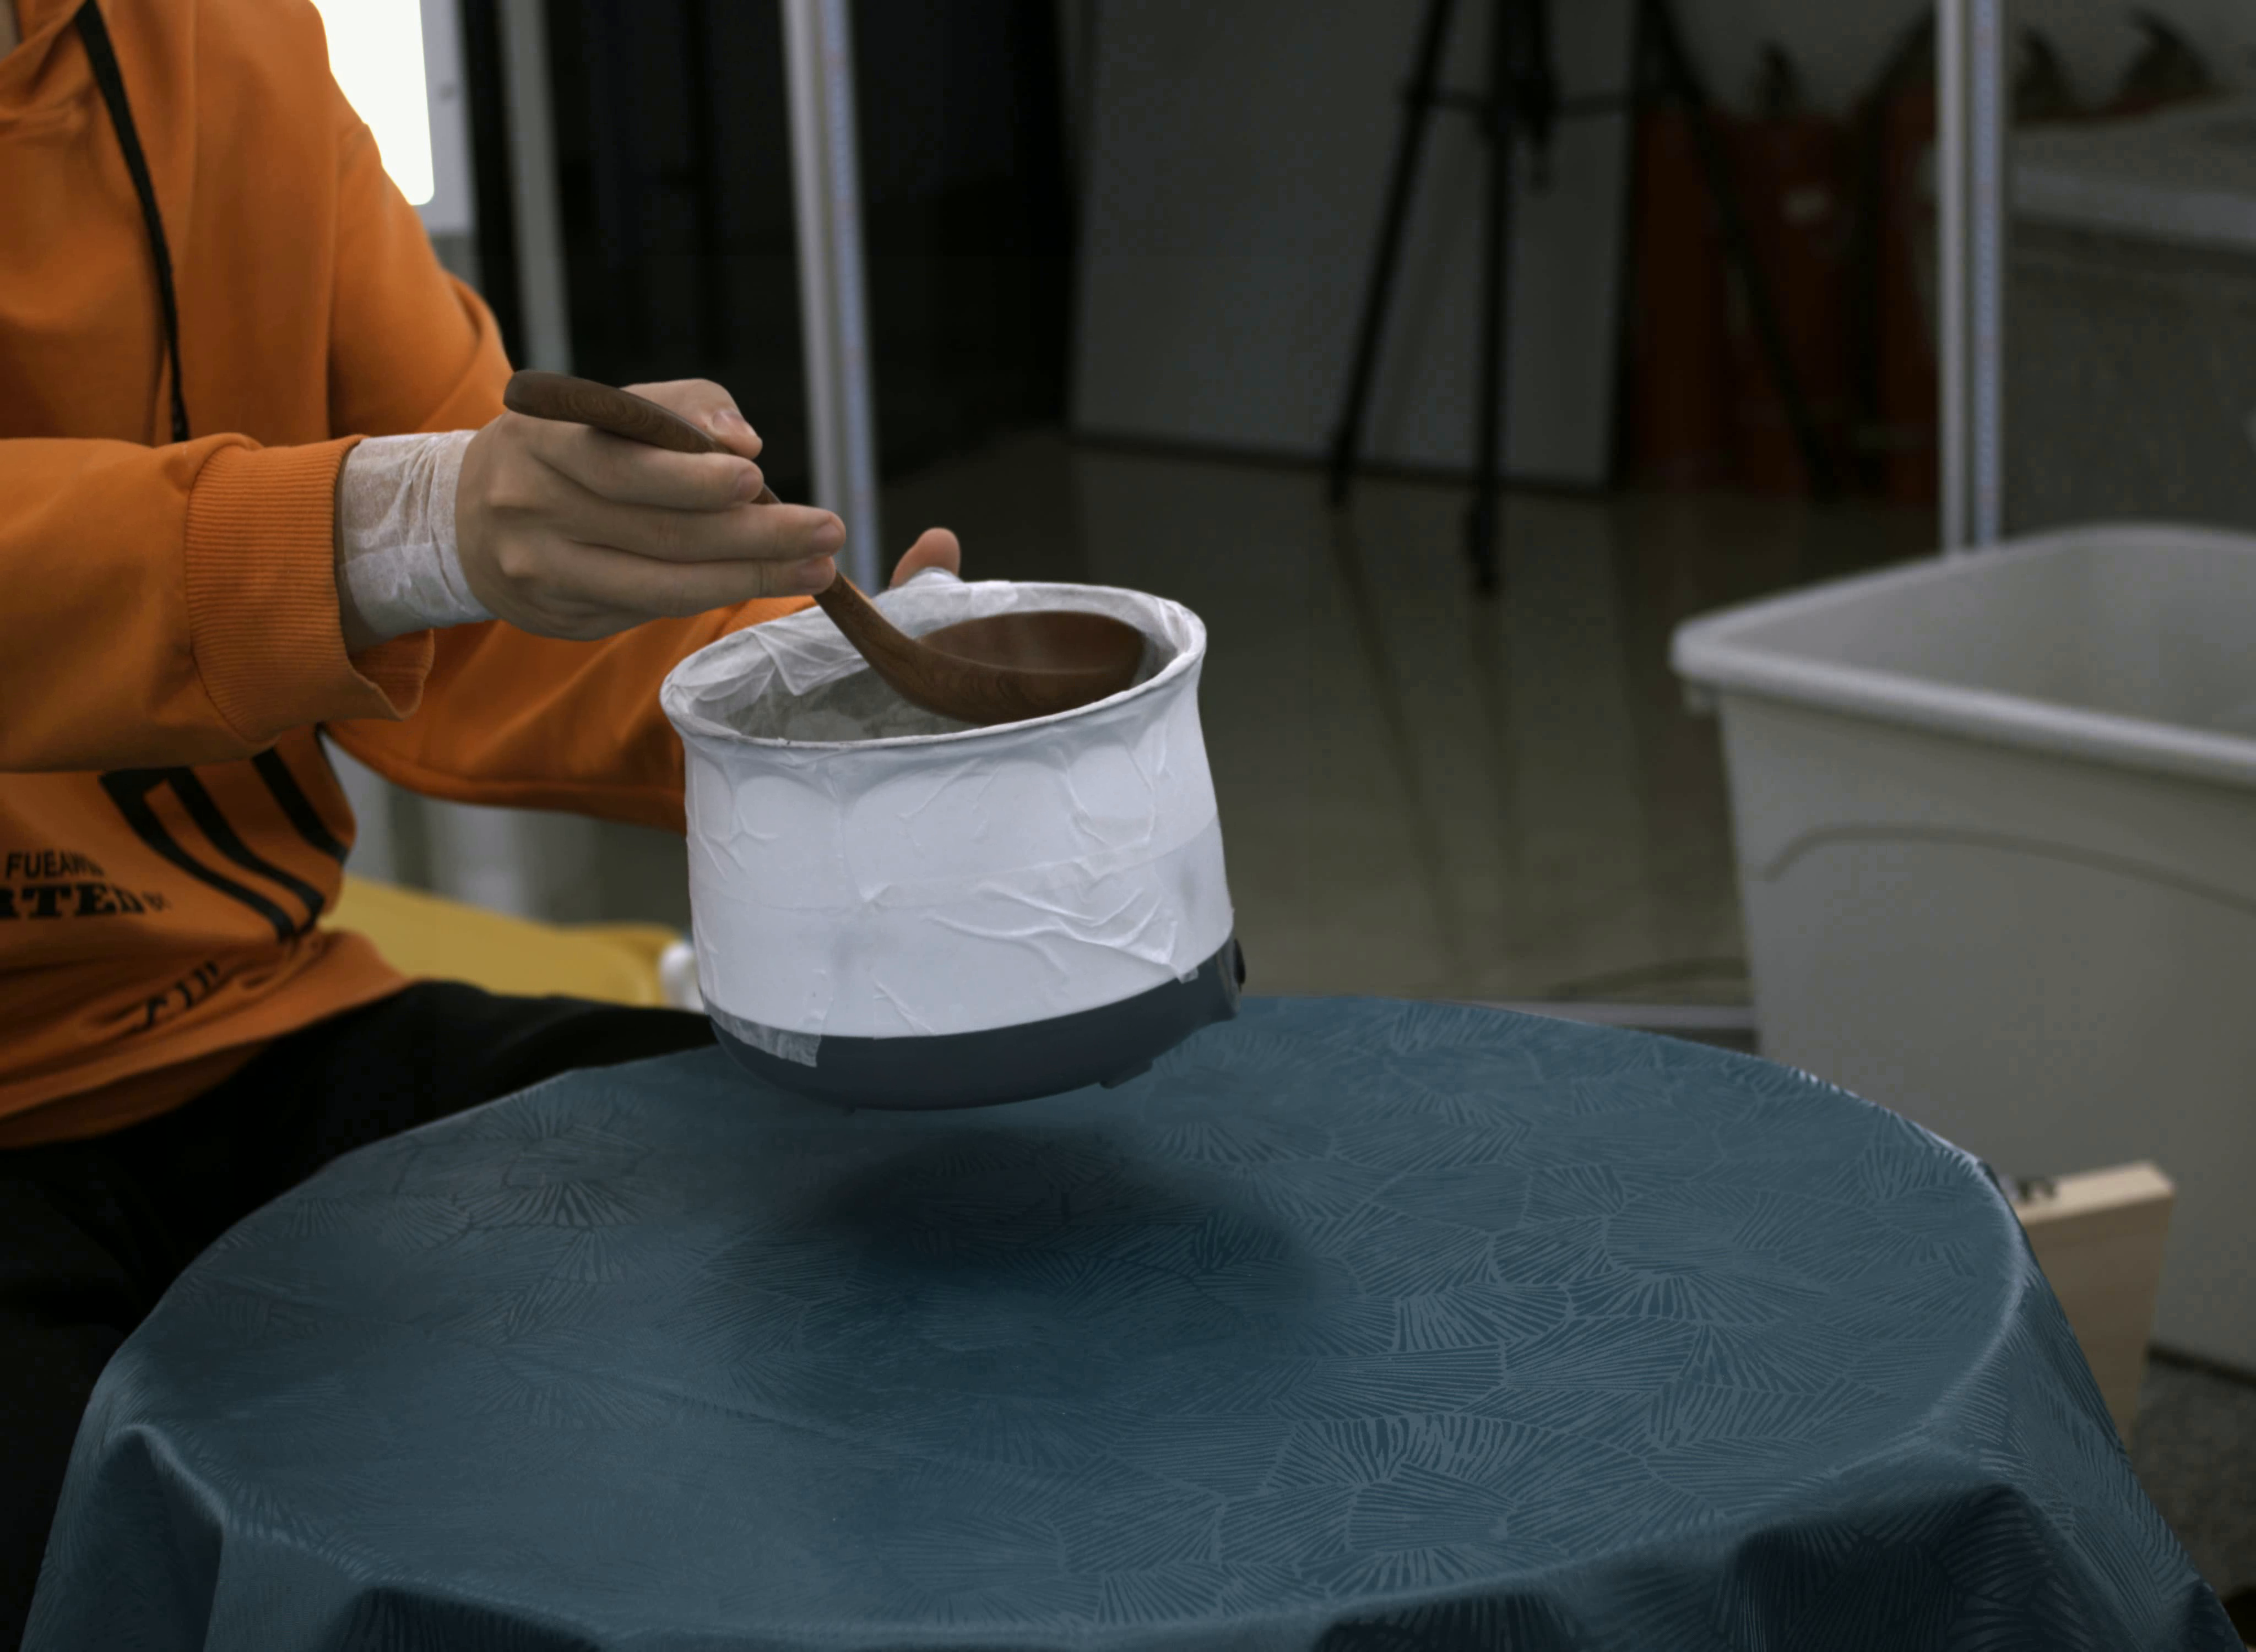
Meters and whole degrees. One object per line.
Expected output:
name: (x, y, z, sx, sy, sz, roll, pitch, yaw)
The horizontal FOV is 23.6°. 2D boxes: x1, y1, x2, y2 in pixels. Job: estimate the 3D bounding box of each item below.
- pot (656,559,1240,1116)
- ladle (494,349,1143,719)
pot: (-0.058, -0.002, 1.759, 0.176, 0.138, 0.234, -6, 17, -1)
ladle: (-0.092, -0.098, 1.668, 0.077, 0.065, 0.256, 13, -18, 48)
